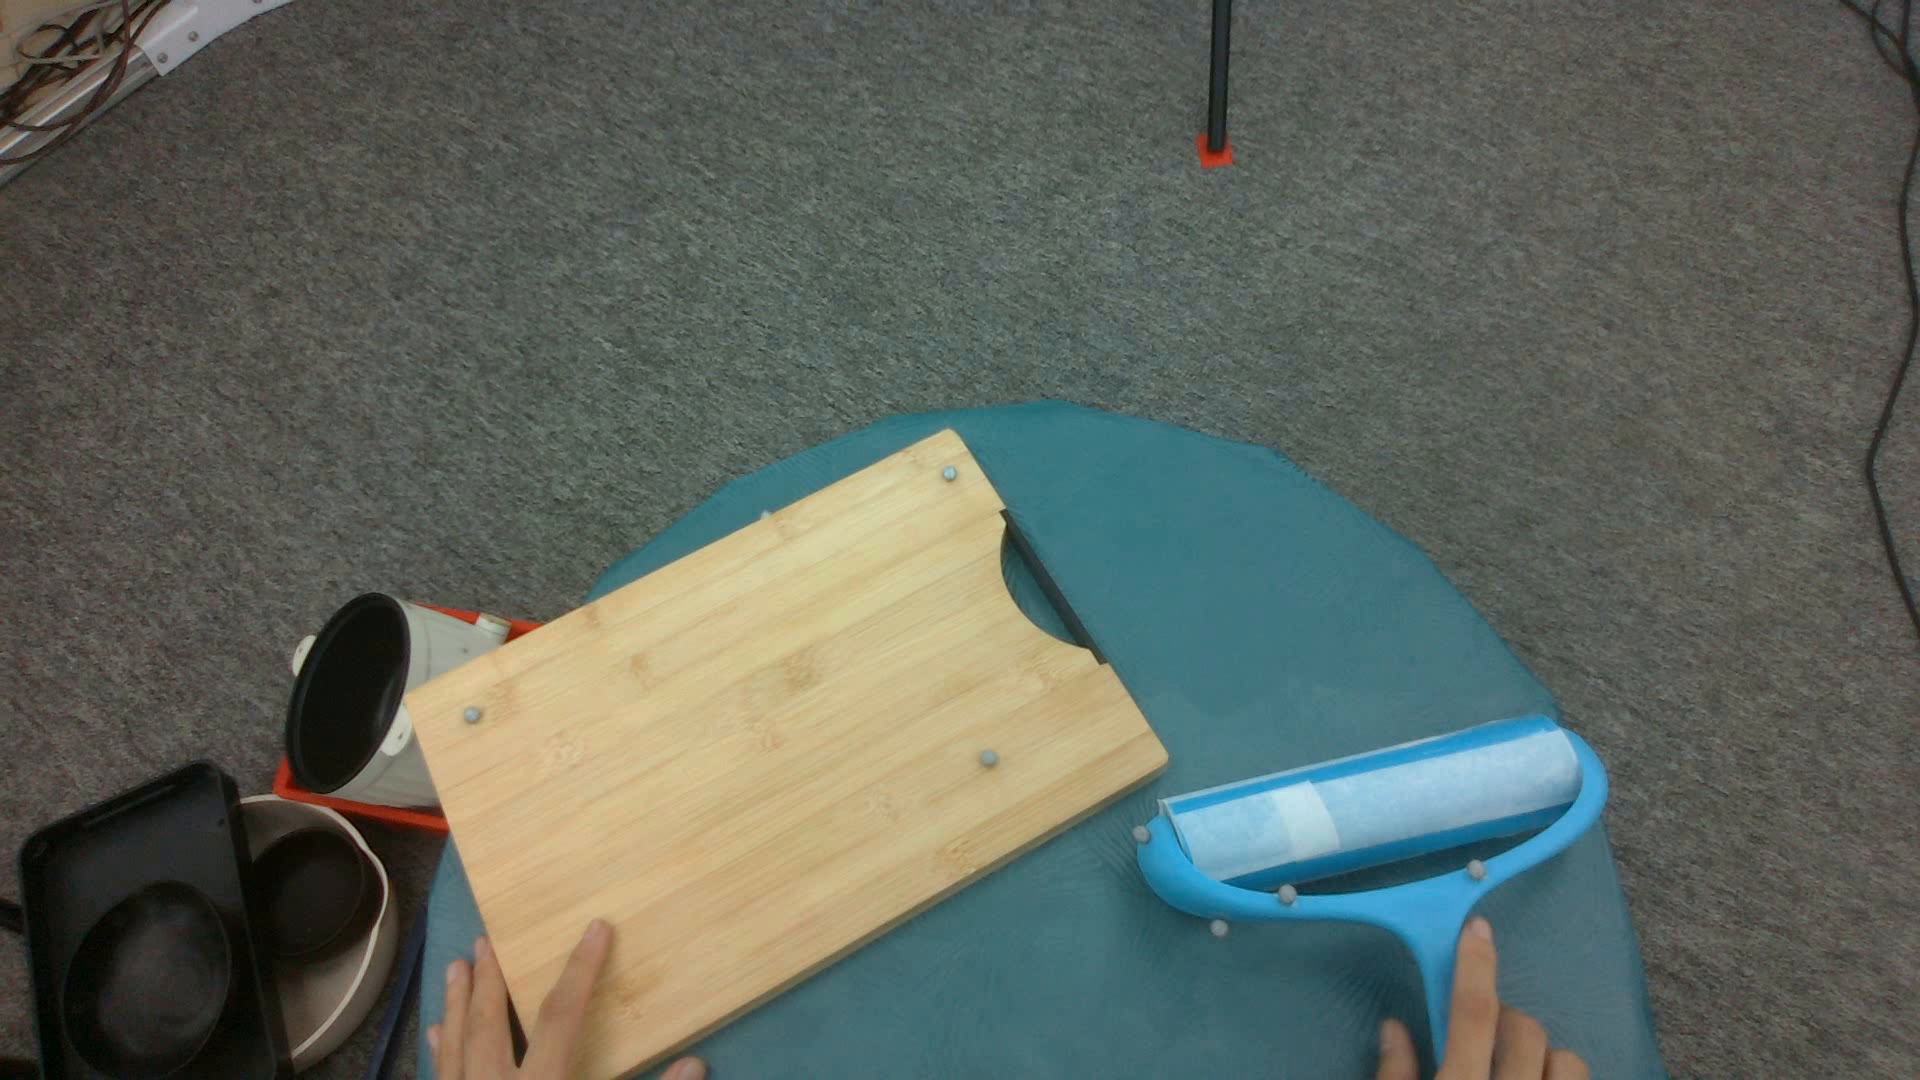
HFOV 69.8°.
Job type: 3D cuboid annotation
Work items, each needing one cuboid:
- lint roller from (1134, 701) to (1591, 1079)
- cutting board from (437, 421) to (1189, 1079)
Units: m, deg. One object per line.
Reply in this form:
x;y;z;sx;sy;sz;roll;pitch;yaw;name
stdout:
0.213;0.178;0.659;0.229;0.067;0.181;-14;59;-5;lint roller
-0.089;0.098;0.750;0.349;0.023;0.251;-28;63;-11;cutting board
